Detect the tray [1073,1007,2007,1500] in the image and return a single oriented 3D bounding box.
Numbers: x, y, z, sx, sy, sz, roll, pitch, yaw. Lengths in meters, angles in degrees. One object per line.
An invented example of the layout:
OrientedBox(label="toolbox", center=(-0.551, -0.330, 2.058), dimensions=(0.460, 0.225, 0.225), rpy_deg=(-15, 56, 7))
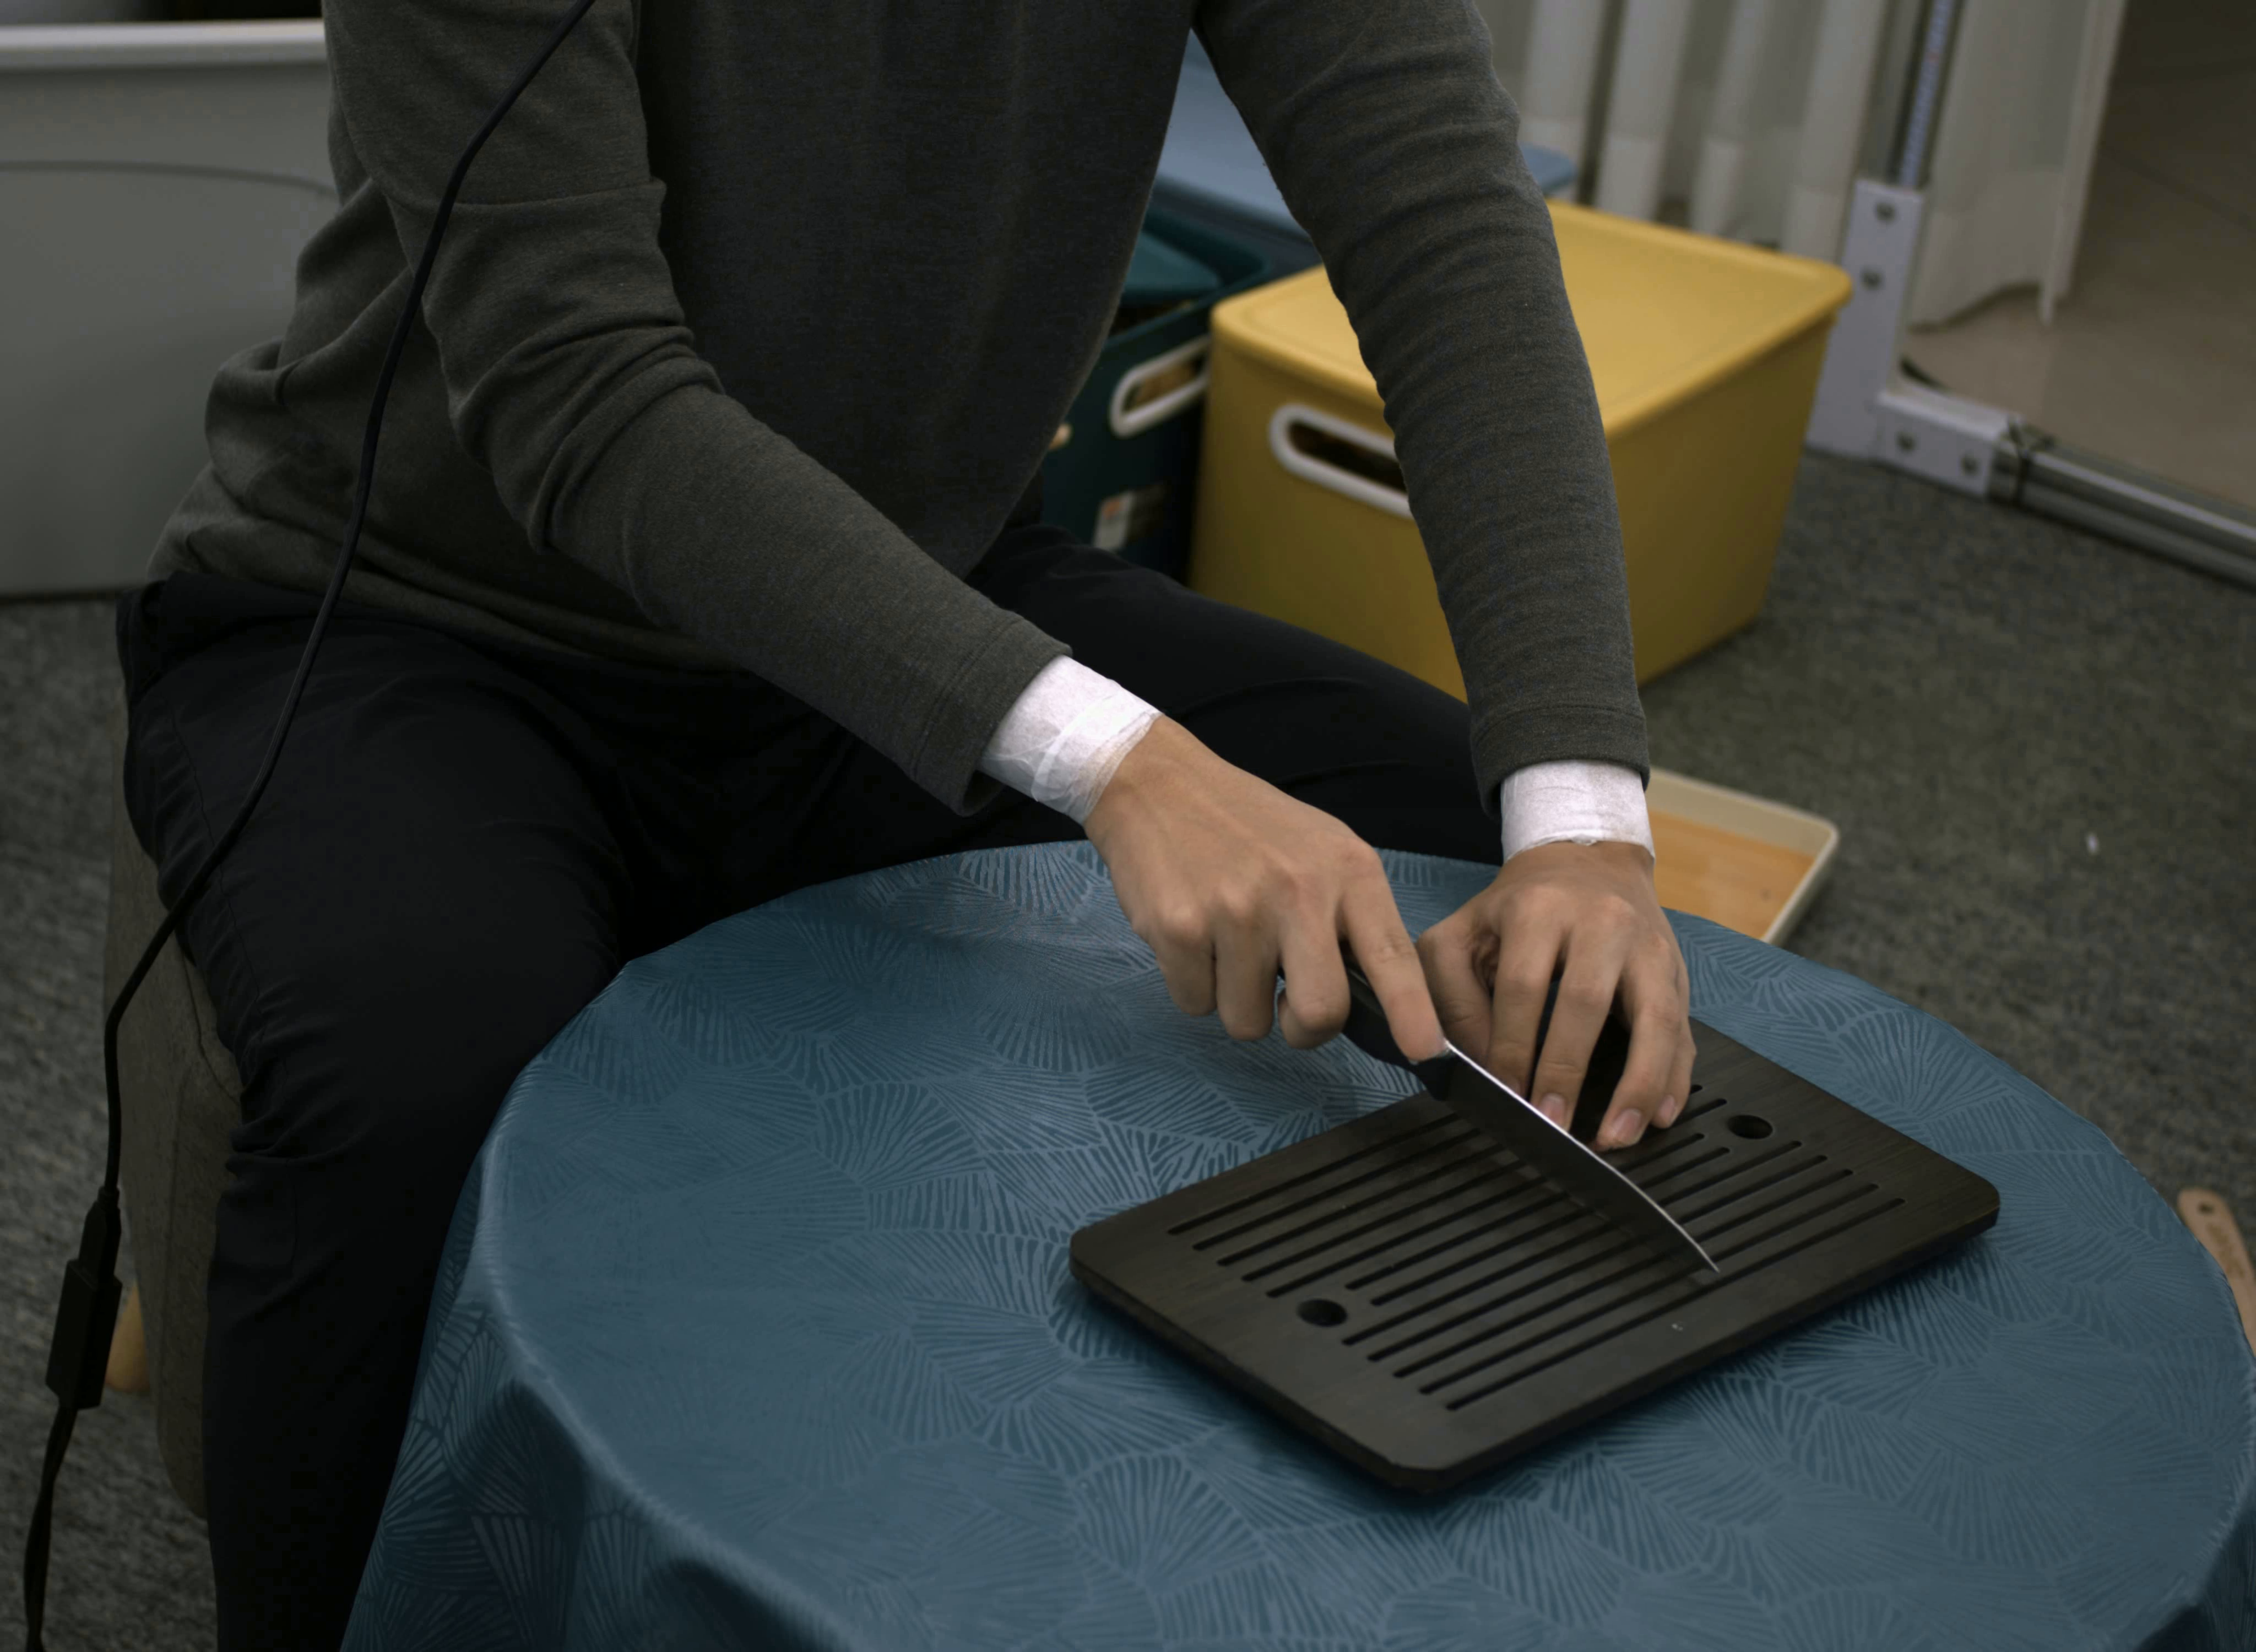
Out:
OrientedBox(label="tray", center=(0.141, 0.140, 1.786), dimensions=(0.304, 0.018, 0.171), rpy_deg=(-18, 35, -40))

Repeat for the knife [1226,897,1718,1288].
OrientedBox(label="knife", center=(0.118, 0.089, 1.822), dimensions=(0.016, 0.024, 0.240), rpy_deg=(-9, 37, -45))
